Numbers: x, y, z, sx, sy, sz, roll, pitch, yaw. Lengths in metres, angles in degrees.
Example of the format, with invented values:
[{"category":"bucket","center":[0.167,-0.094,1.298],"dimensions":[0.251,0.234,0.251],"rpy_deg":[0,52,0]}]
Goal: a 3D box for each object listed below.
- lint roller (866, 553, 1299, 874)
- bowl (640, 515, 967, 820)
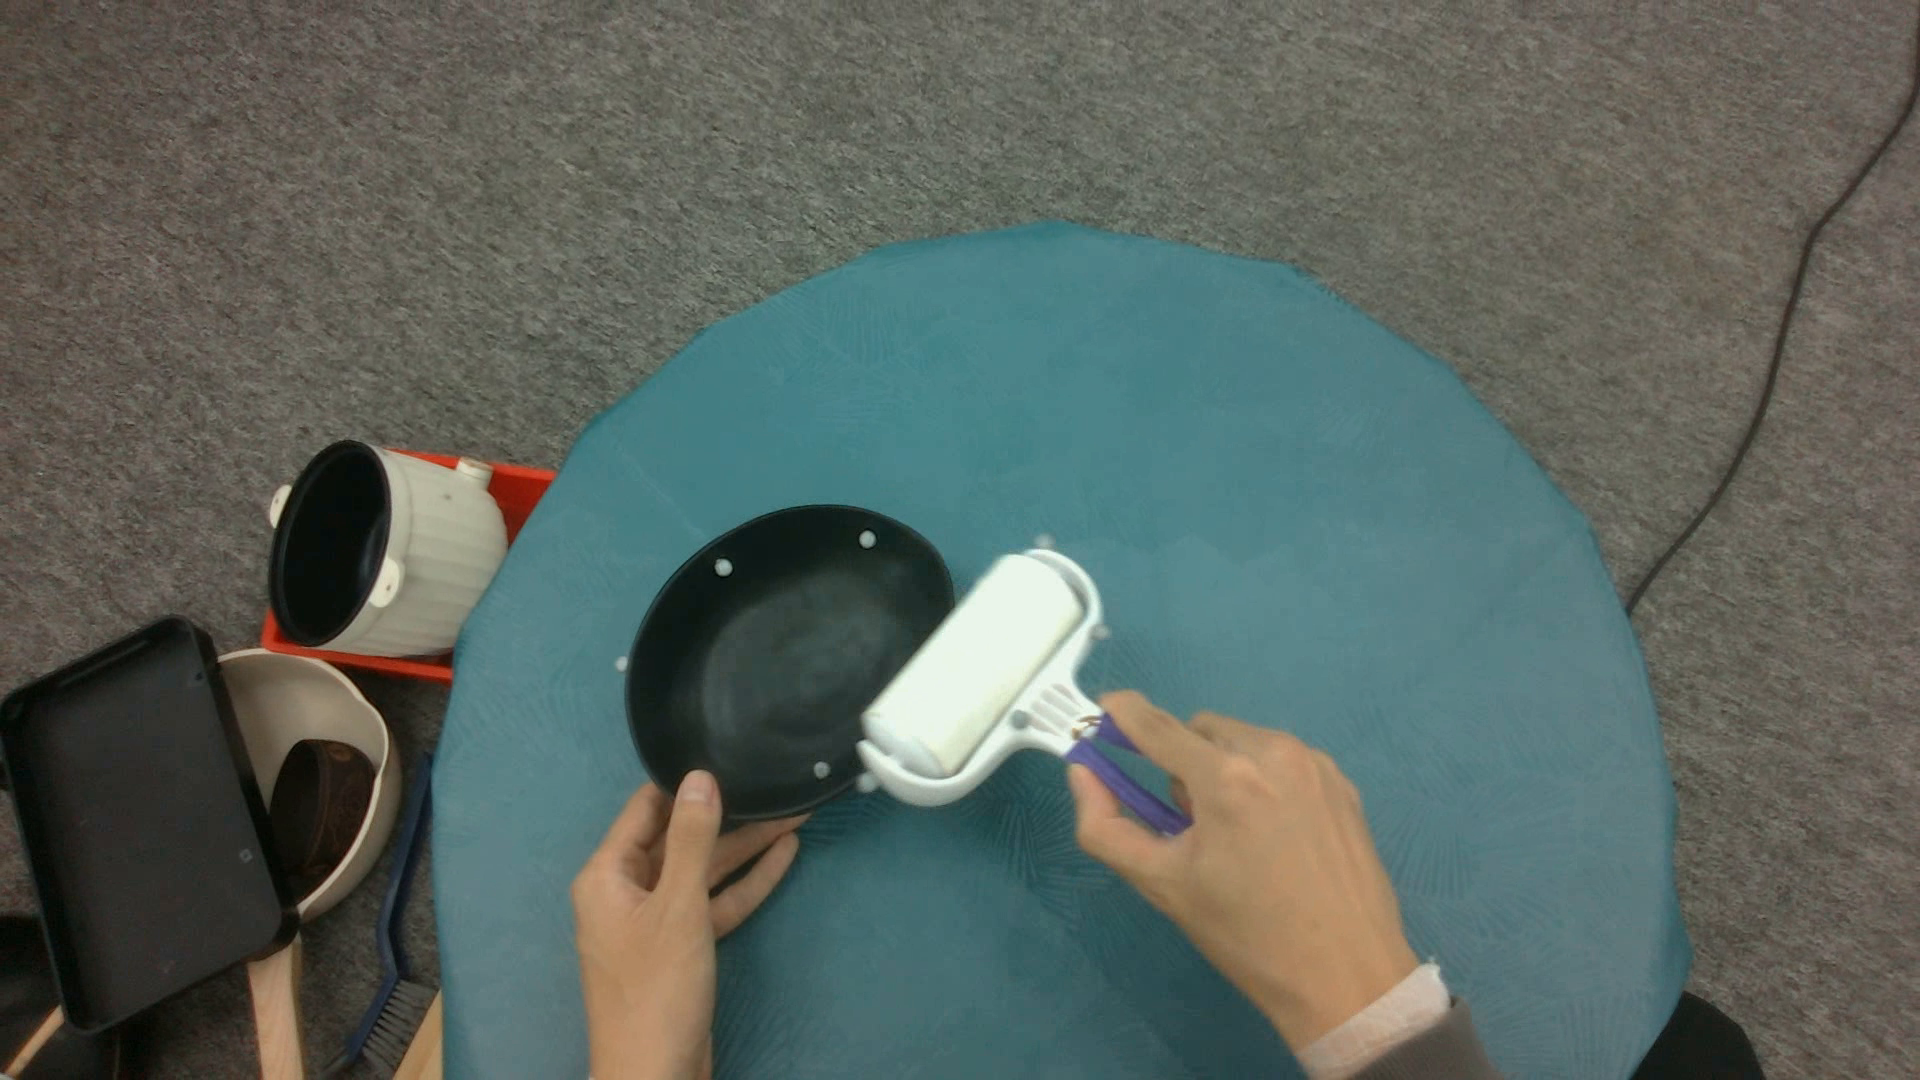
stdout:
[{"category":"lint roller","center":[0.058,0.083,0.576],"dimensions":[0.181,0.050,0.133],"rpy_deg":[26,59,34]},{"category":"bowl","center":[-0.073,0.064,0.678],"dimensions":[0.137,0.066,0.171],"rpy_deg":[41,75,16]}]
